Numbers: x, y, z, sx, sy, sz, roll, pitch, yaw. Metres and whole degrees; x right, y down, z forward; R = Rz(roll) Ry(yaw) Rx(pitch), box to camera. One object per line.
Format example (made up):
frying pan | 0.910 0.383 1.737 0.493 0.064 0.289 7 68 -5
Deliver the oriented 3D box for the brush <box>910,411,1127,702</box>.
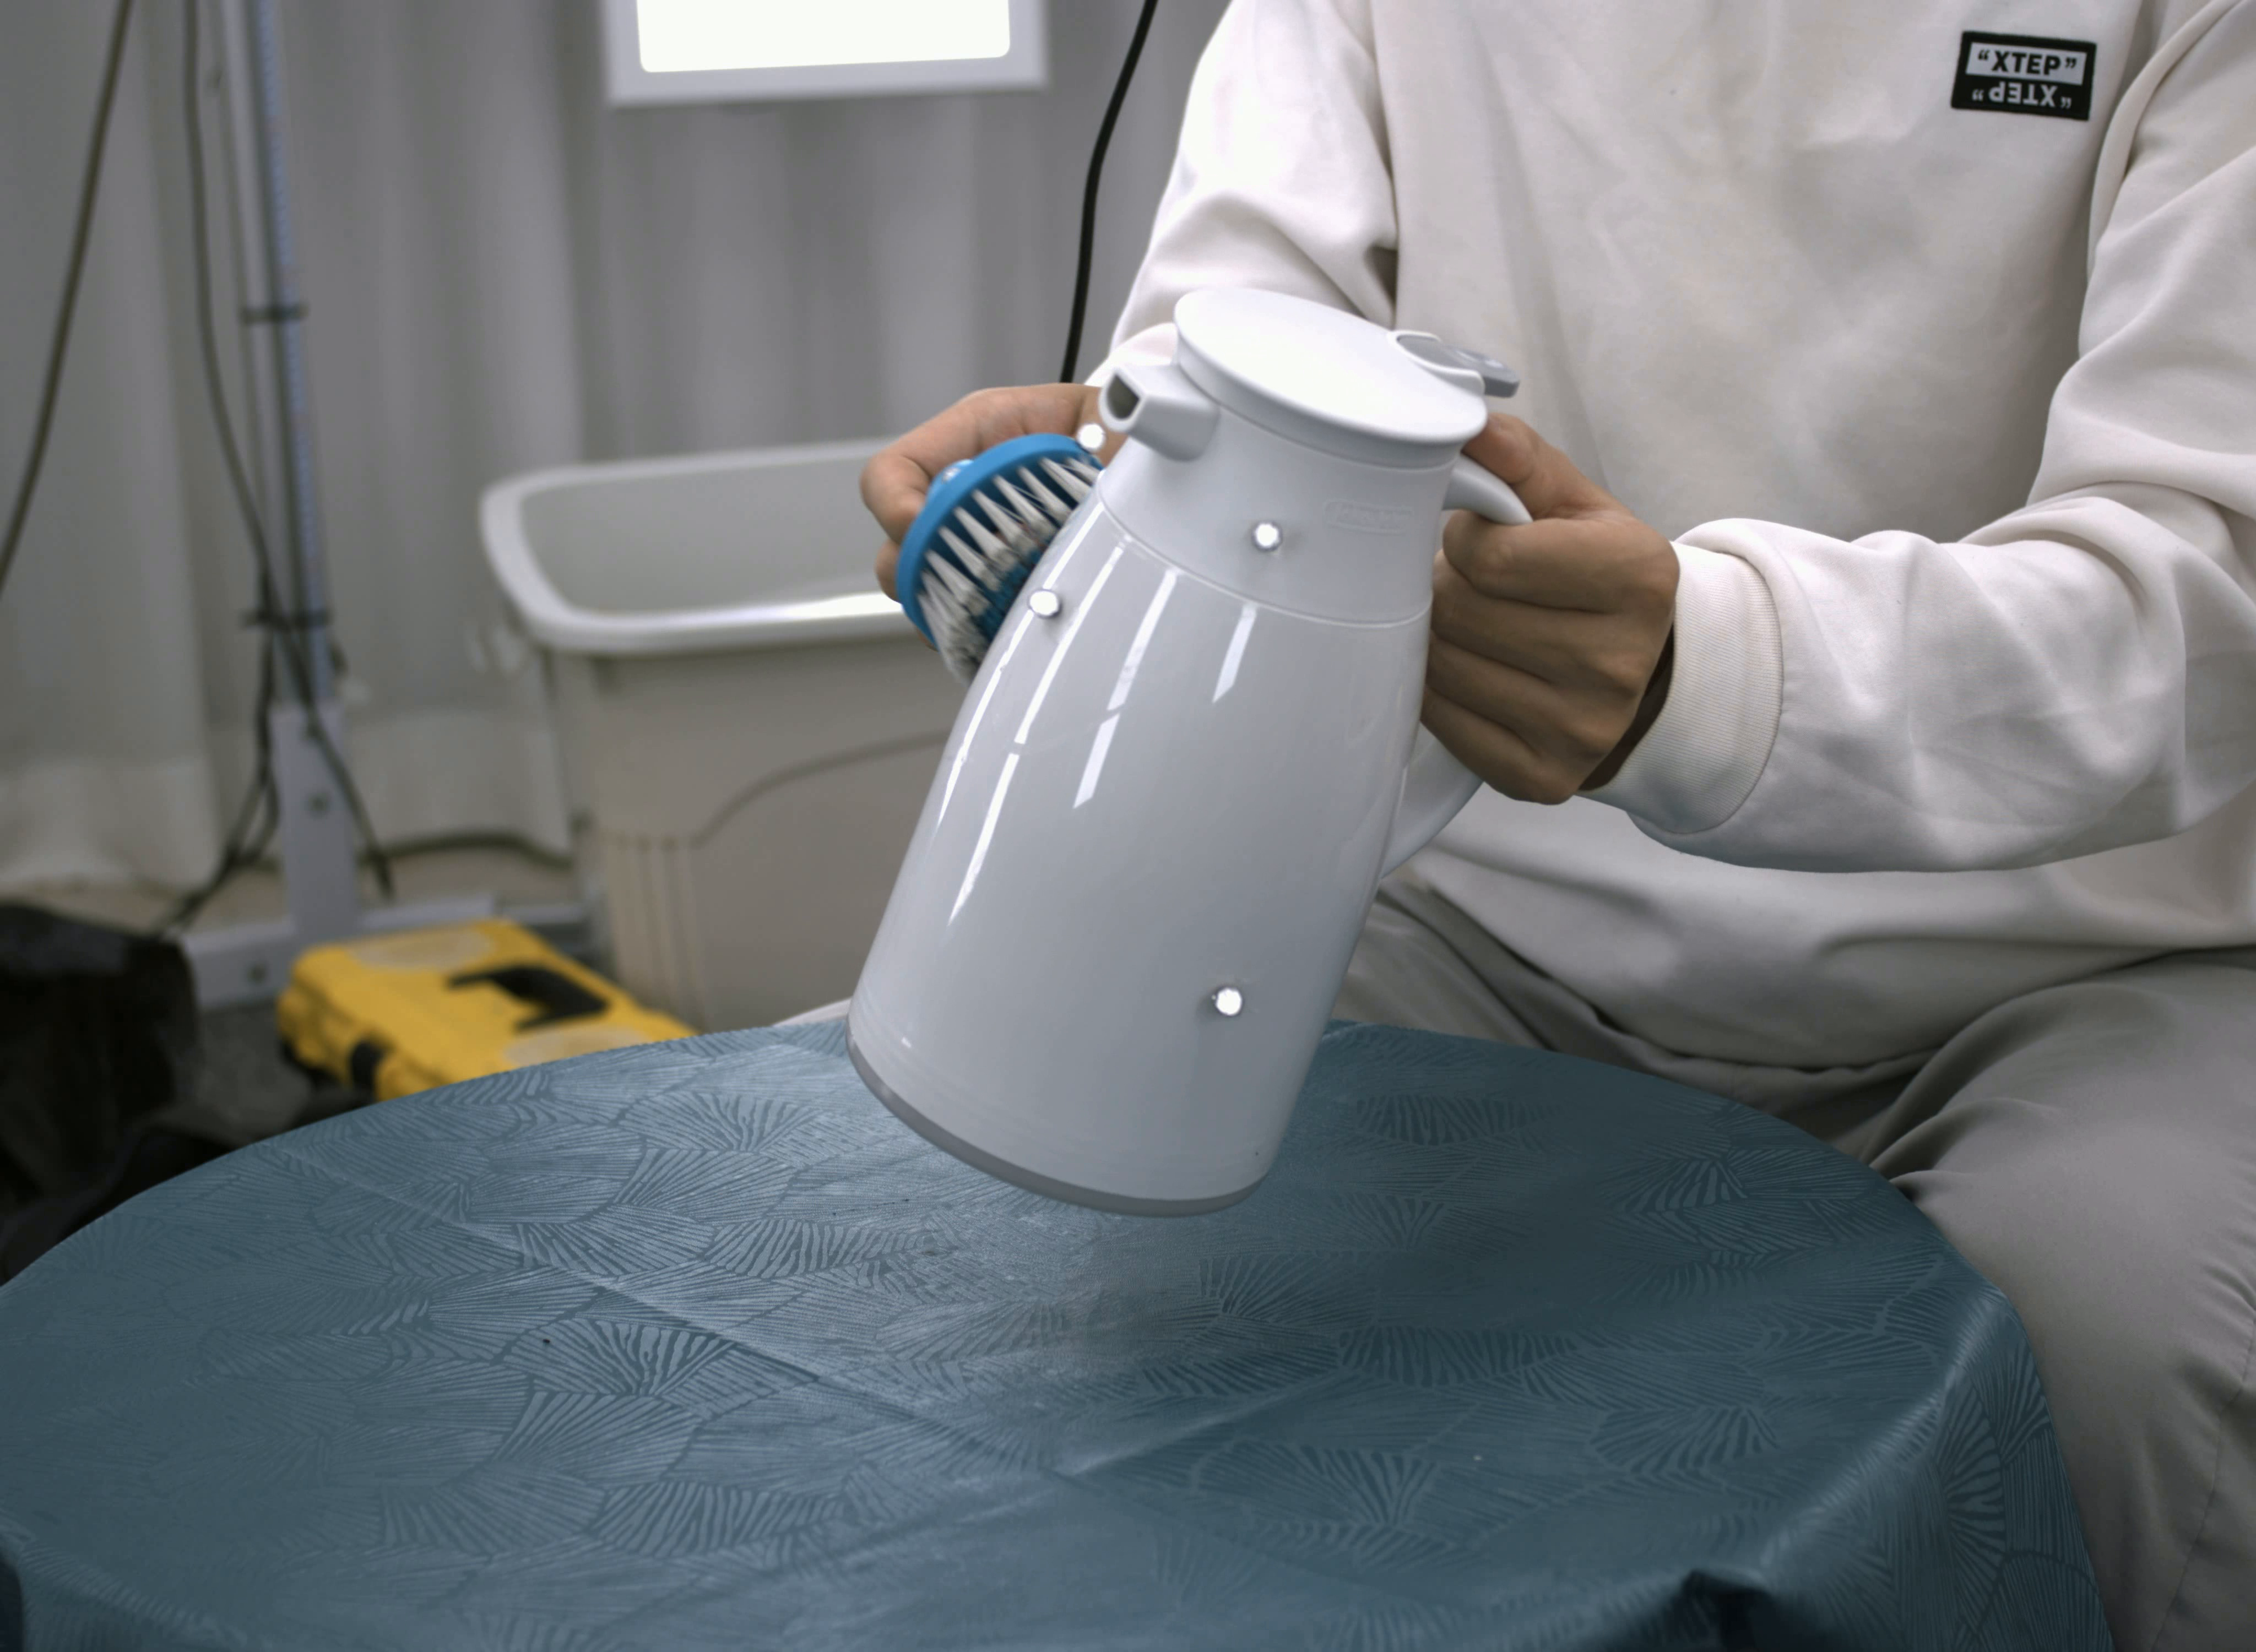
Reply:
brush | -0.021 -0.074 1.632 0.064 0.084 0.140 42 1 34

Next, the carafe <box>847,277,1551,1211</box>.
carafe | 0.034 -0.029 1.562 0.166 0.247 0.134 5 26 -34
